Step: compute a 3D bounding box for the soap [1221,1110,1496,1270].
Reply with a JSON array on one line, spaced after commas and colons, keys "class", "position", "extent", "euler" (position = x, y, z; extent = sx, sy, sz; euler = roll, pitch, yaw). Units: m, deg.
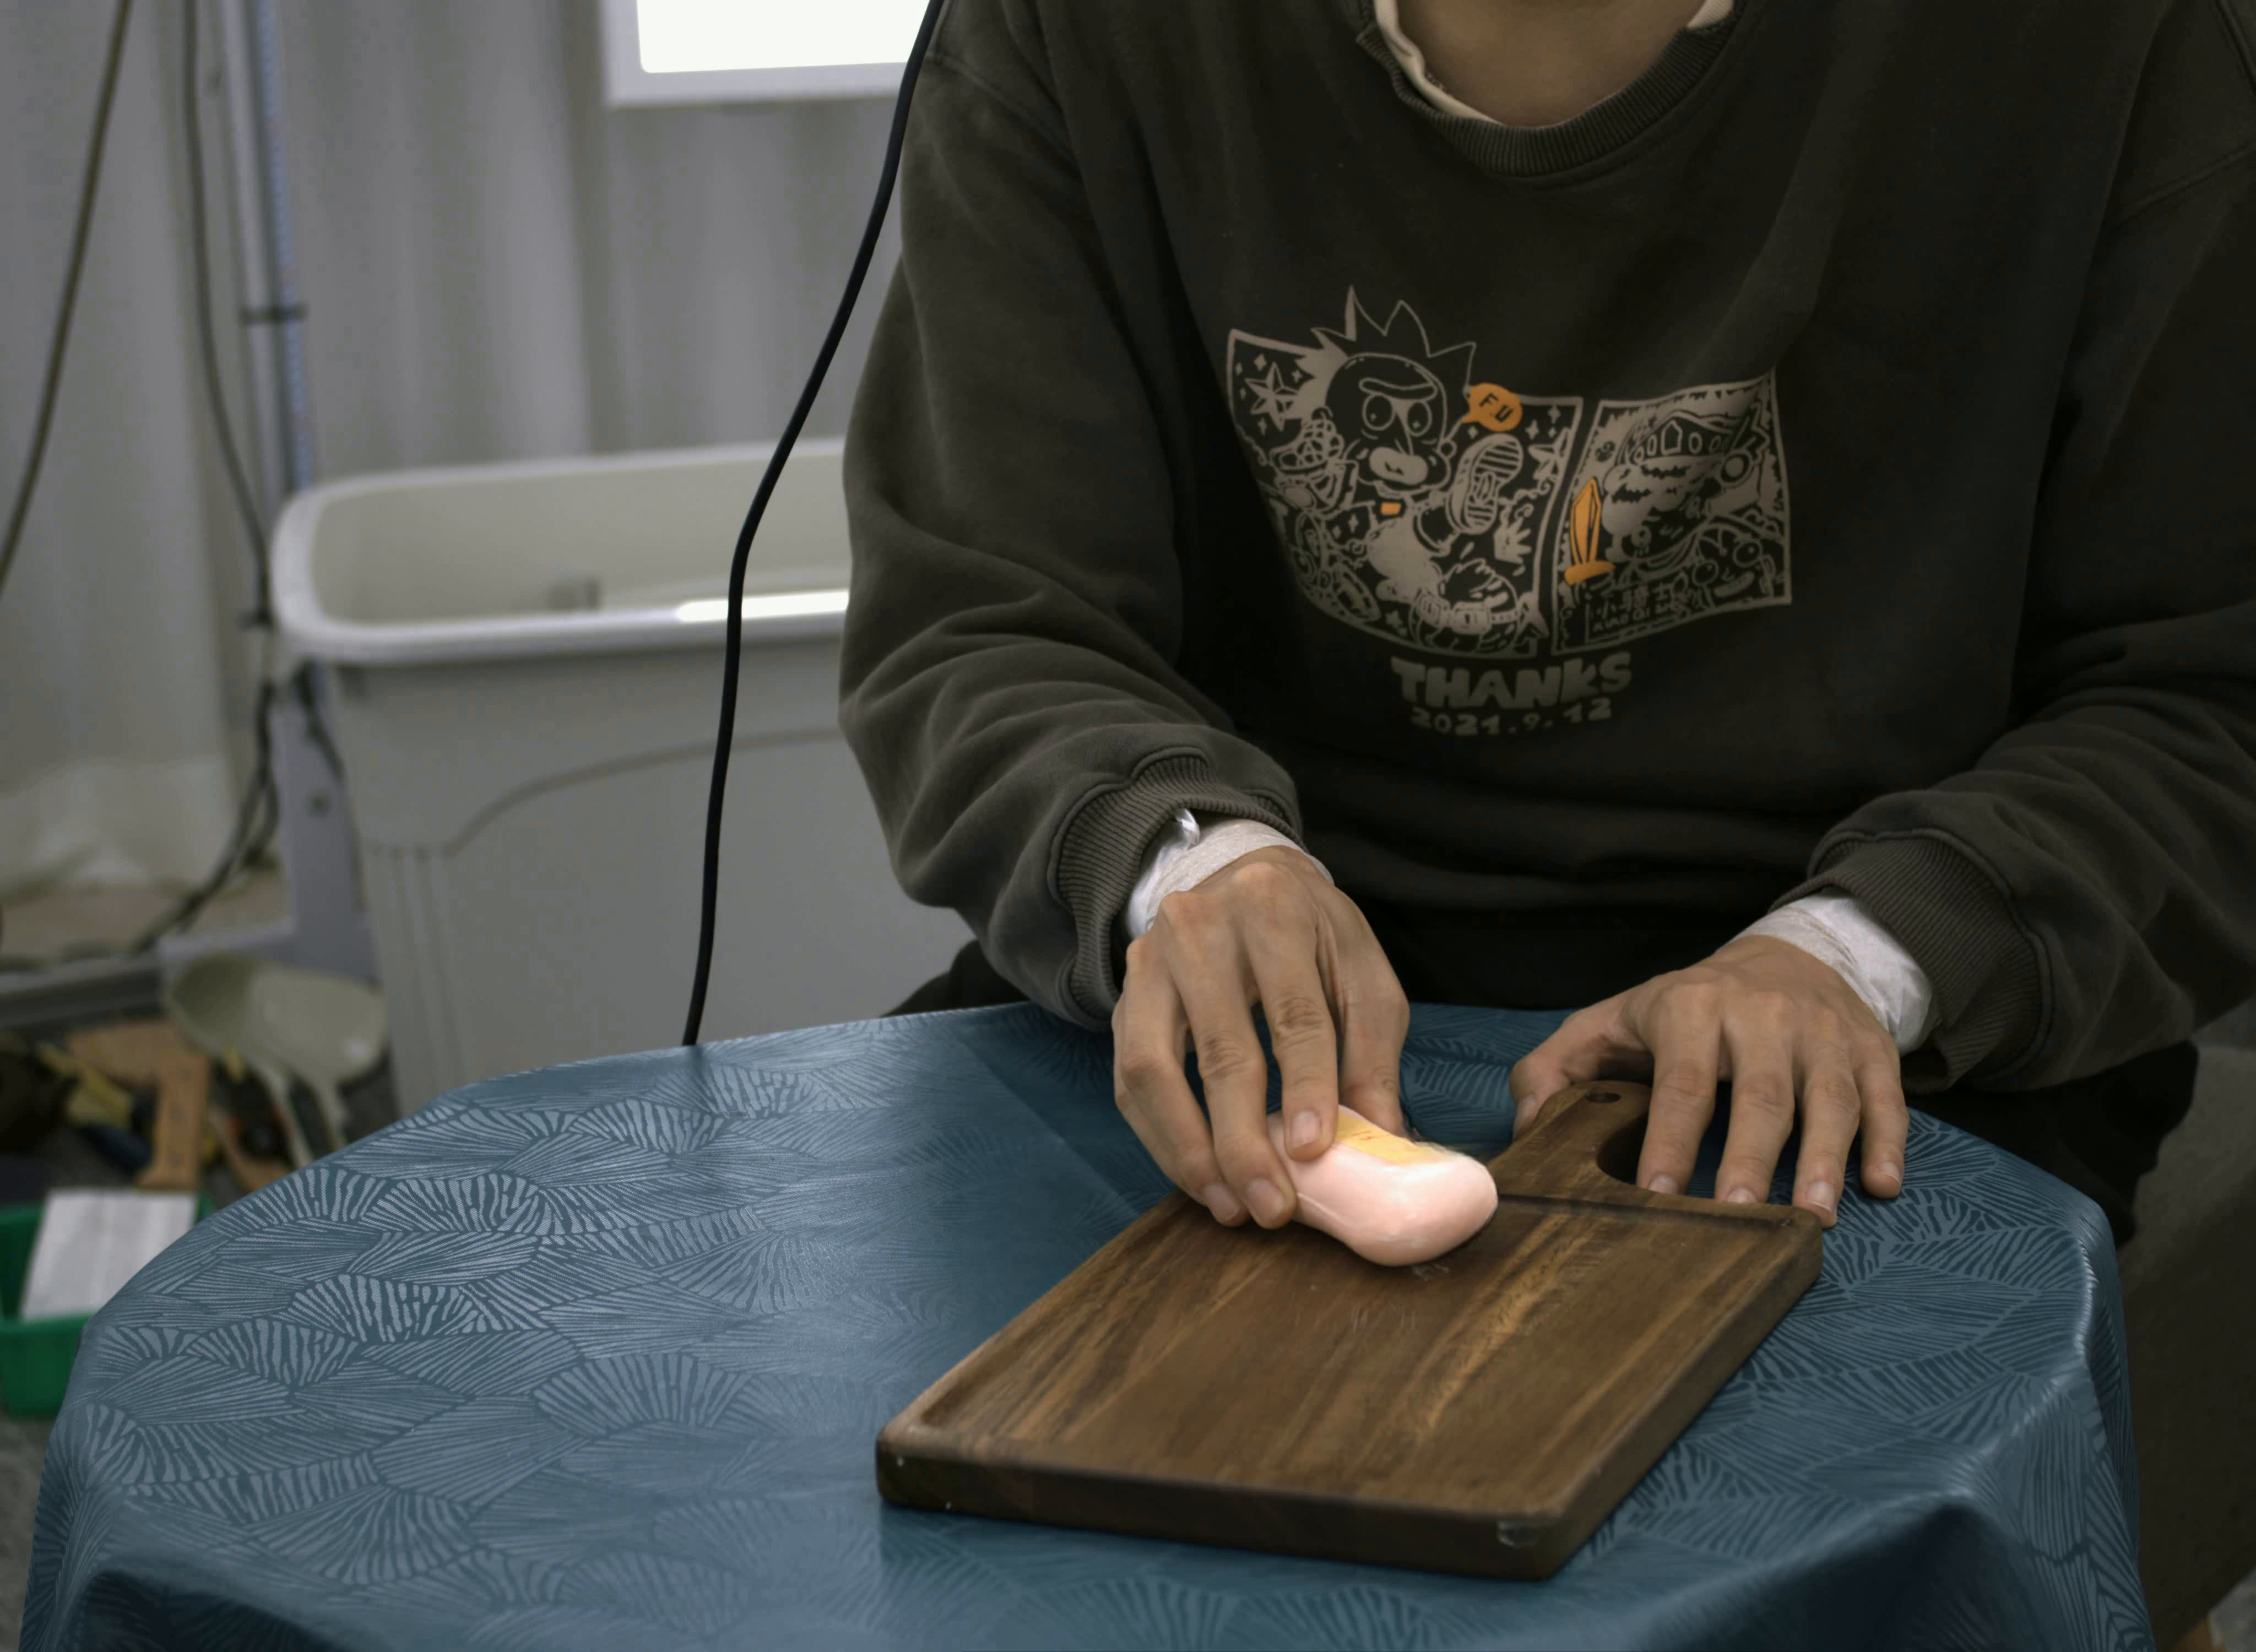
[{"class": "soap", "position": [0.068, 0.108, 1.622], "extent": [0.050, 0.030, 0.095], "euler": [-13, 18, -31]}]

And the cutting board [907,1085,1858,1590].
[{"class": "cutting board", "position": [0.097, 0.137, 1.581], "extent": [0.201, 0.023, 0.353], "euler": [4, 16, 24]}]
